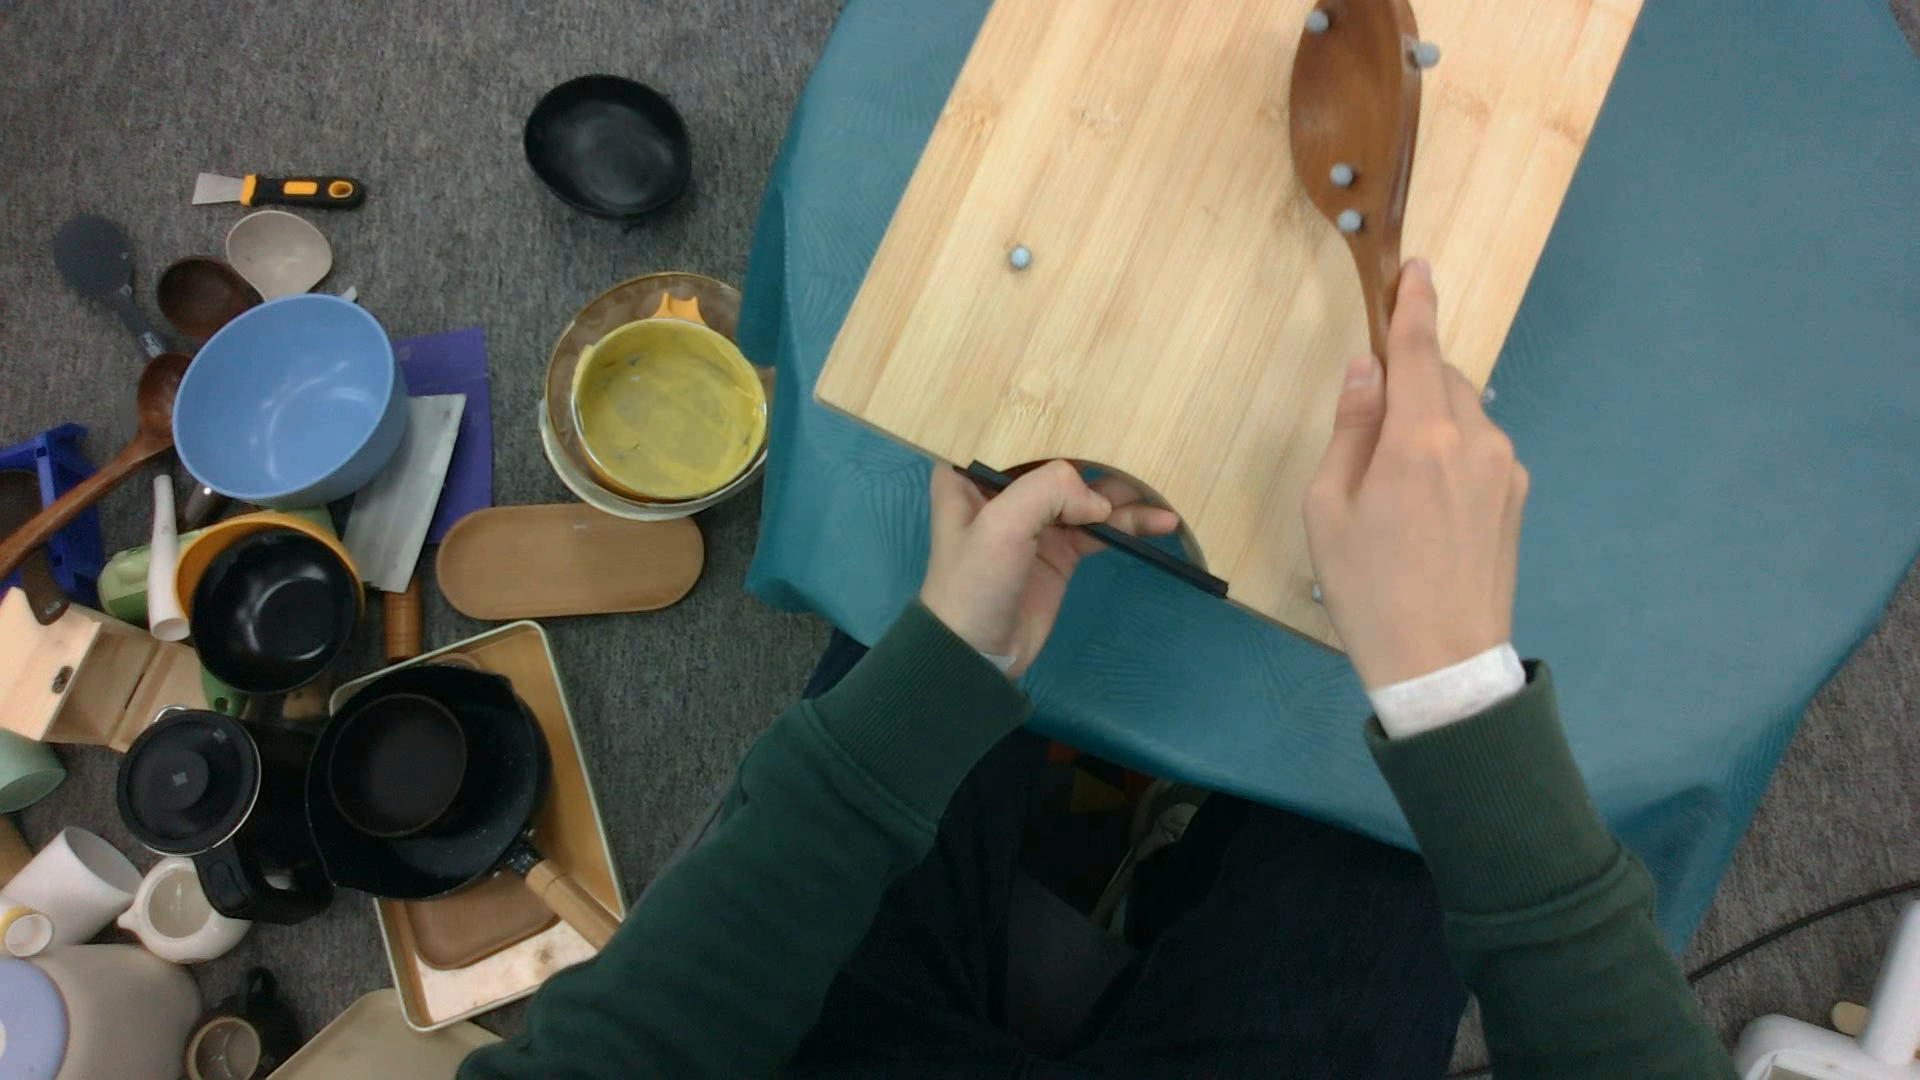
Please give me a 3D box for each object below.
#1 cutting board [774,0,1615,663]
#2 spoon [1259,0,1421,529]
[{"bbox_3d":[0.111,-0.157,0.544,0.251,0.023,0.349,24,84,-11],"label":"cutting board"},{"bbox_3d":[0.141,-0.110,0.492,0.017,0.075,0.216,1,78,-23],"label":"spoon"}]
